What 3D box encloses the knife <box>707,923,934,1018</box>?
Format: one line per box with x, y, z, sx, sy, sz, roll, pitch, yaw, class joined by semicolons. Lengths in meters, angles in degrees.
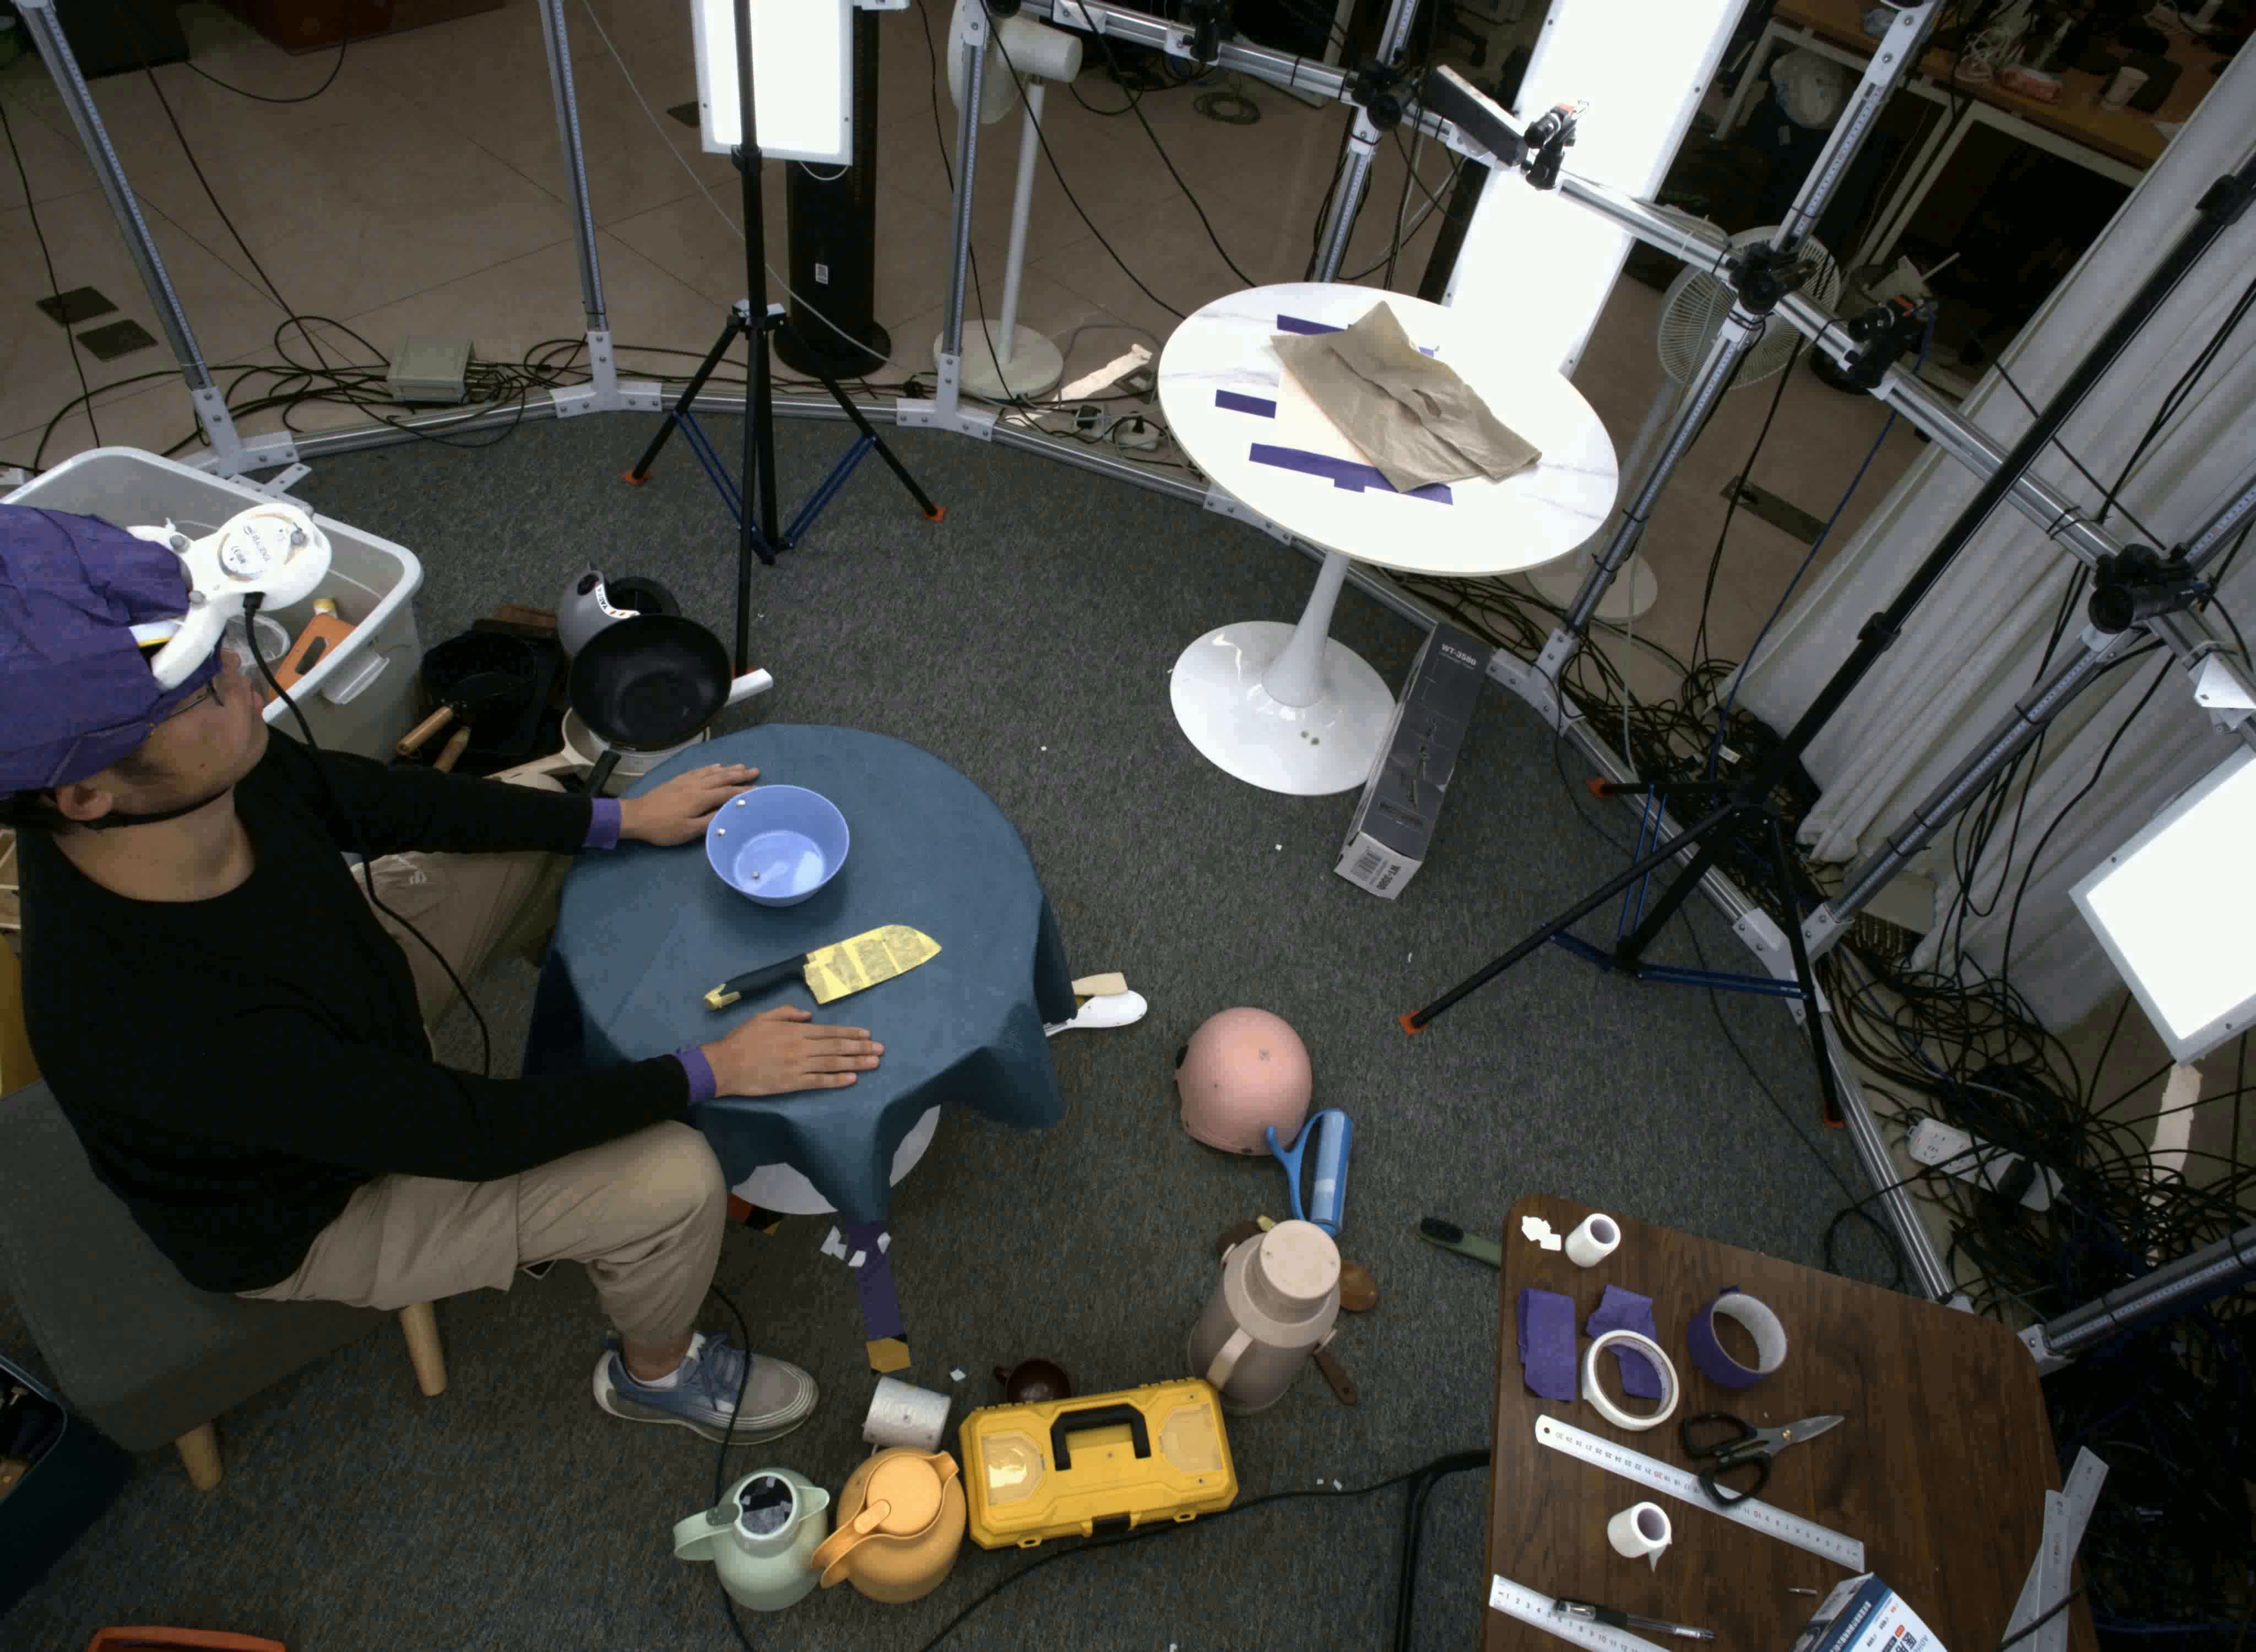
-0.370;0.180;1.592;0.291;0.028;0.079;-19;59;-27;knife

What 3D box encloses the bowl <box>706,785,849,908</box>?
-0.443;0.036;1.645;0.176;0.071;0.173;8;53;-9;bowl
